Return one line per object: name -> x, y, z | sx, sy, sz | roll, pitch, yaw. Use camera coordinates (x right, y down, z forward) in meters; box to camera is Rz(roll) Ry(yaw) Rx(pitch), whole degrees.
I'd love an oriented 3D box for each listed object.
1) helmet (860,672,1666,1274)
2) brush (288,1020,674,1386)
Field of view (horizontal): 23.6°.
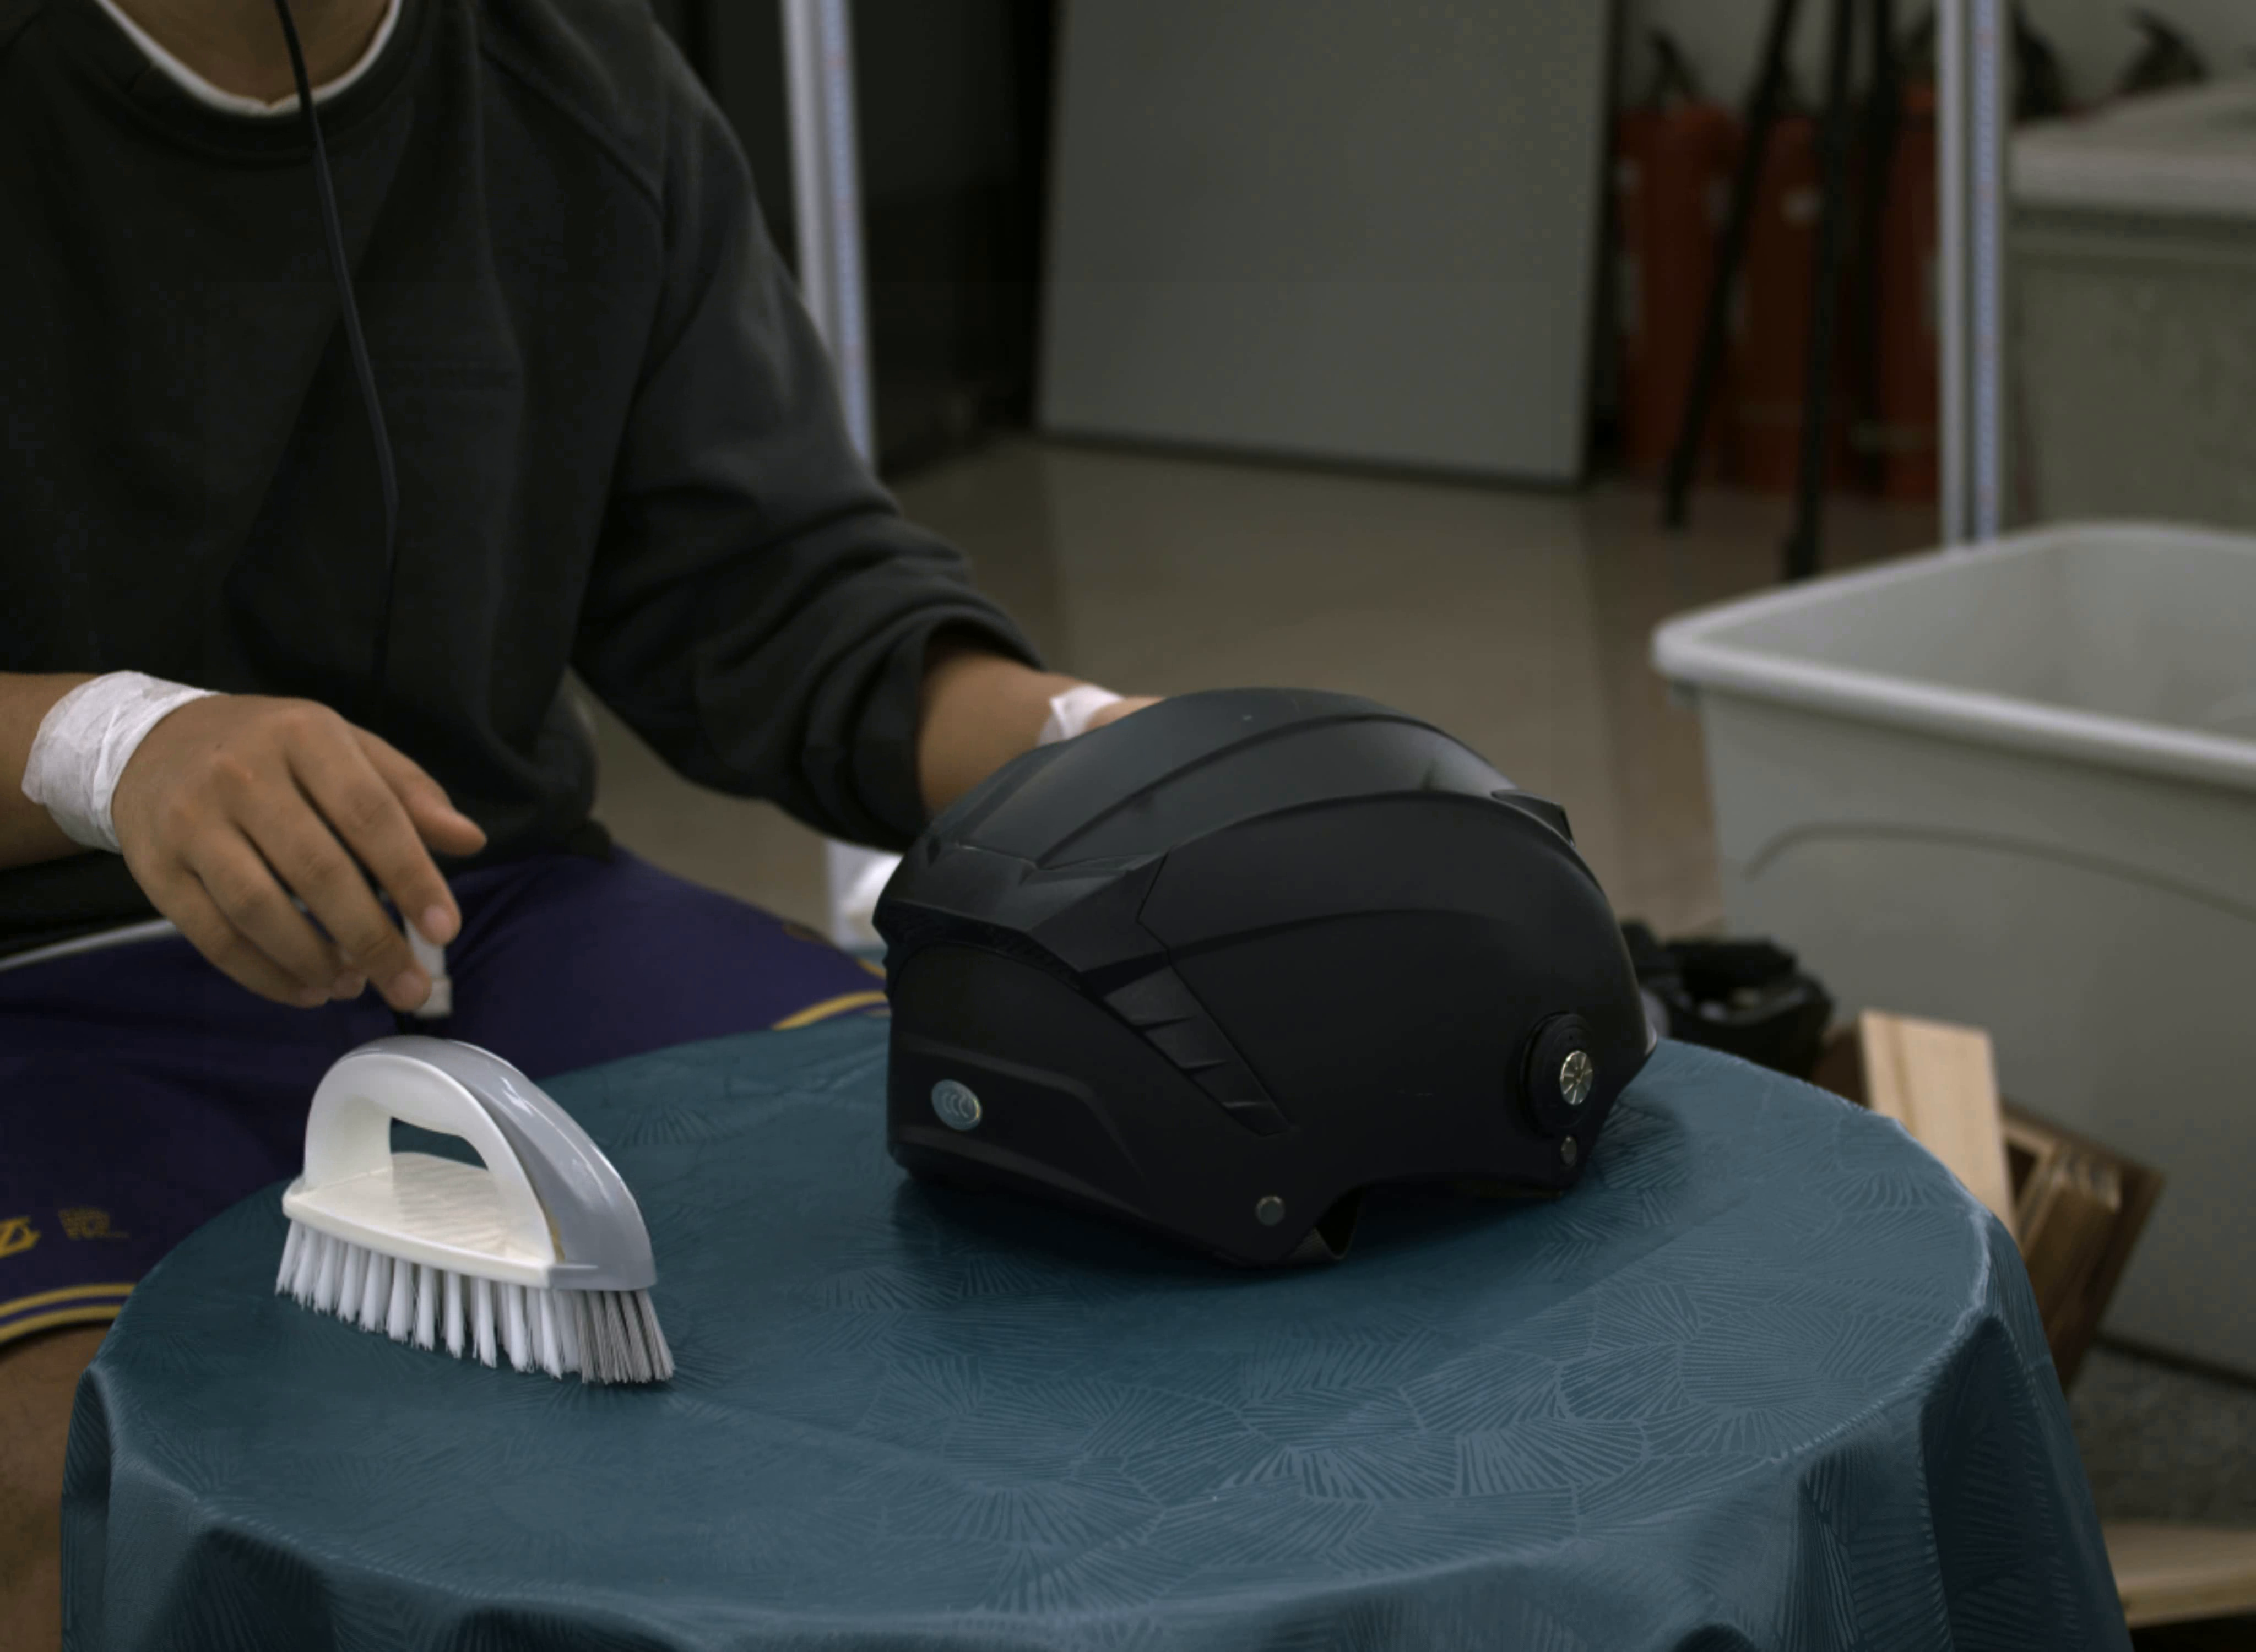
helmet -> 0.044, 0.036, 1.767 | 0.271, 0.174, 0.249 | -20, 21, -37
brush -> -0.196, 0.113, 1.668 | 0.060, 0.095, 0.177 | -16, 20, -38
